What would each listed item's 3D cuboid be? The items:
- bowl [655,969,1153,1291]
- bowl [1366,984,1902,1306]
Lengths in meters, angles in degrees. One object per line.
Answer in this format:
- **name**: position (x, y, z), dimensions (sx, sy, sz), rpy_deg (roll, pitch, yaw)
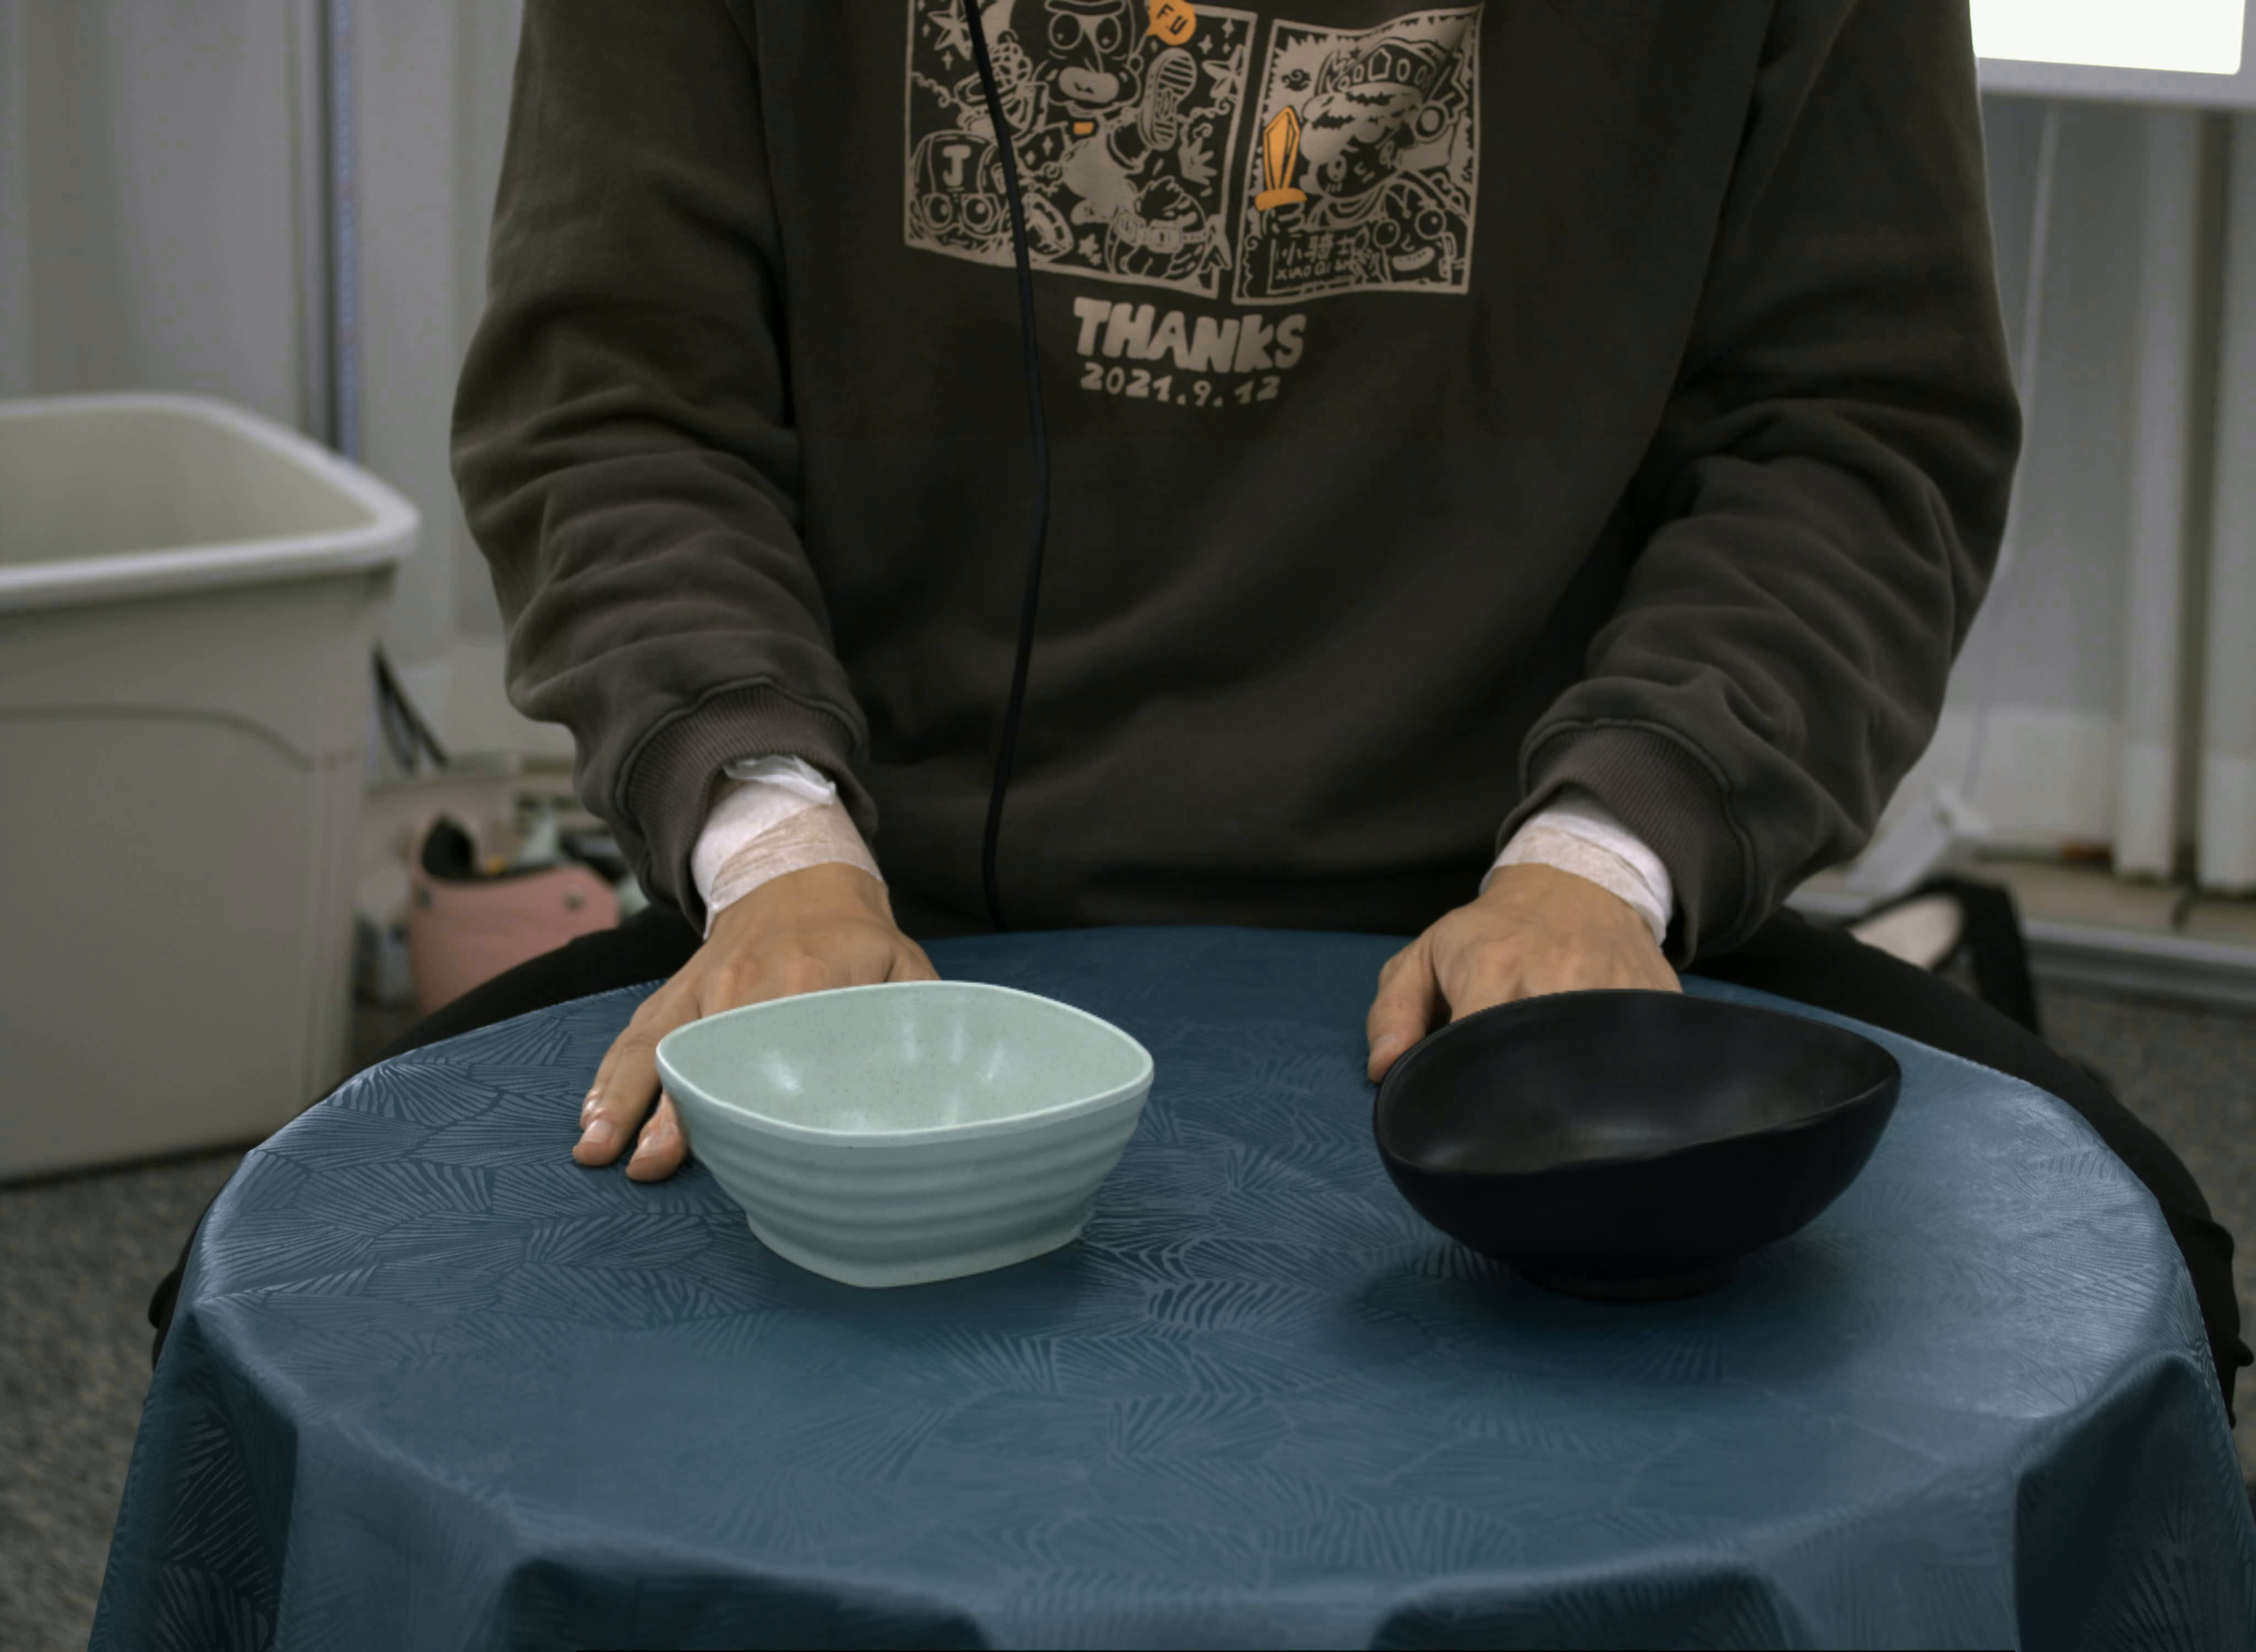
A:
- **bowl**: position (-0.068, 0.095, 1.583), dimensions (0.151, 0.059, 0.150), rpy_deg (2, 18, 0)
- **bowl**: position (0.150, 0.101, 1.561), dimensions (0.171, 0.067, 0.135), rpy_deg (-12, 20, -35)
